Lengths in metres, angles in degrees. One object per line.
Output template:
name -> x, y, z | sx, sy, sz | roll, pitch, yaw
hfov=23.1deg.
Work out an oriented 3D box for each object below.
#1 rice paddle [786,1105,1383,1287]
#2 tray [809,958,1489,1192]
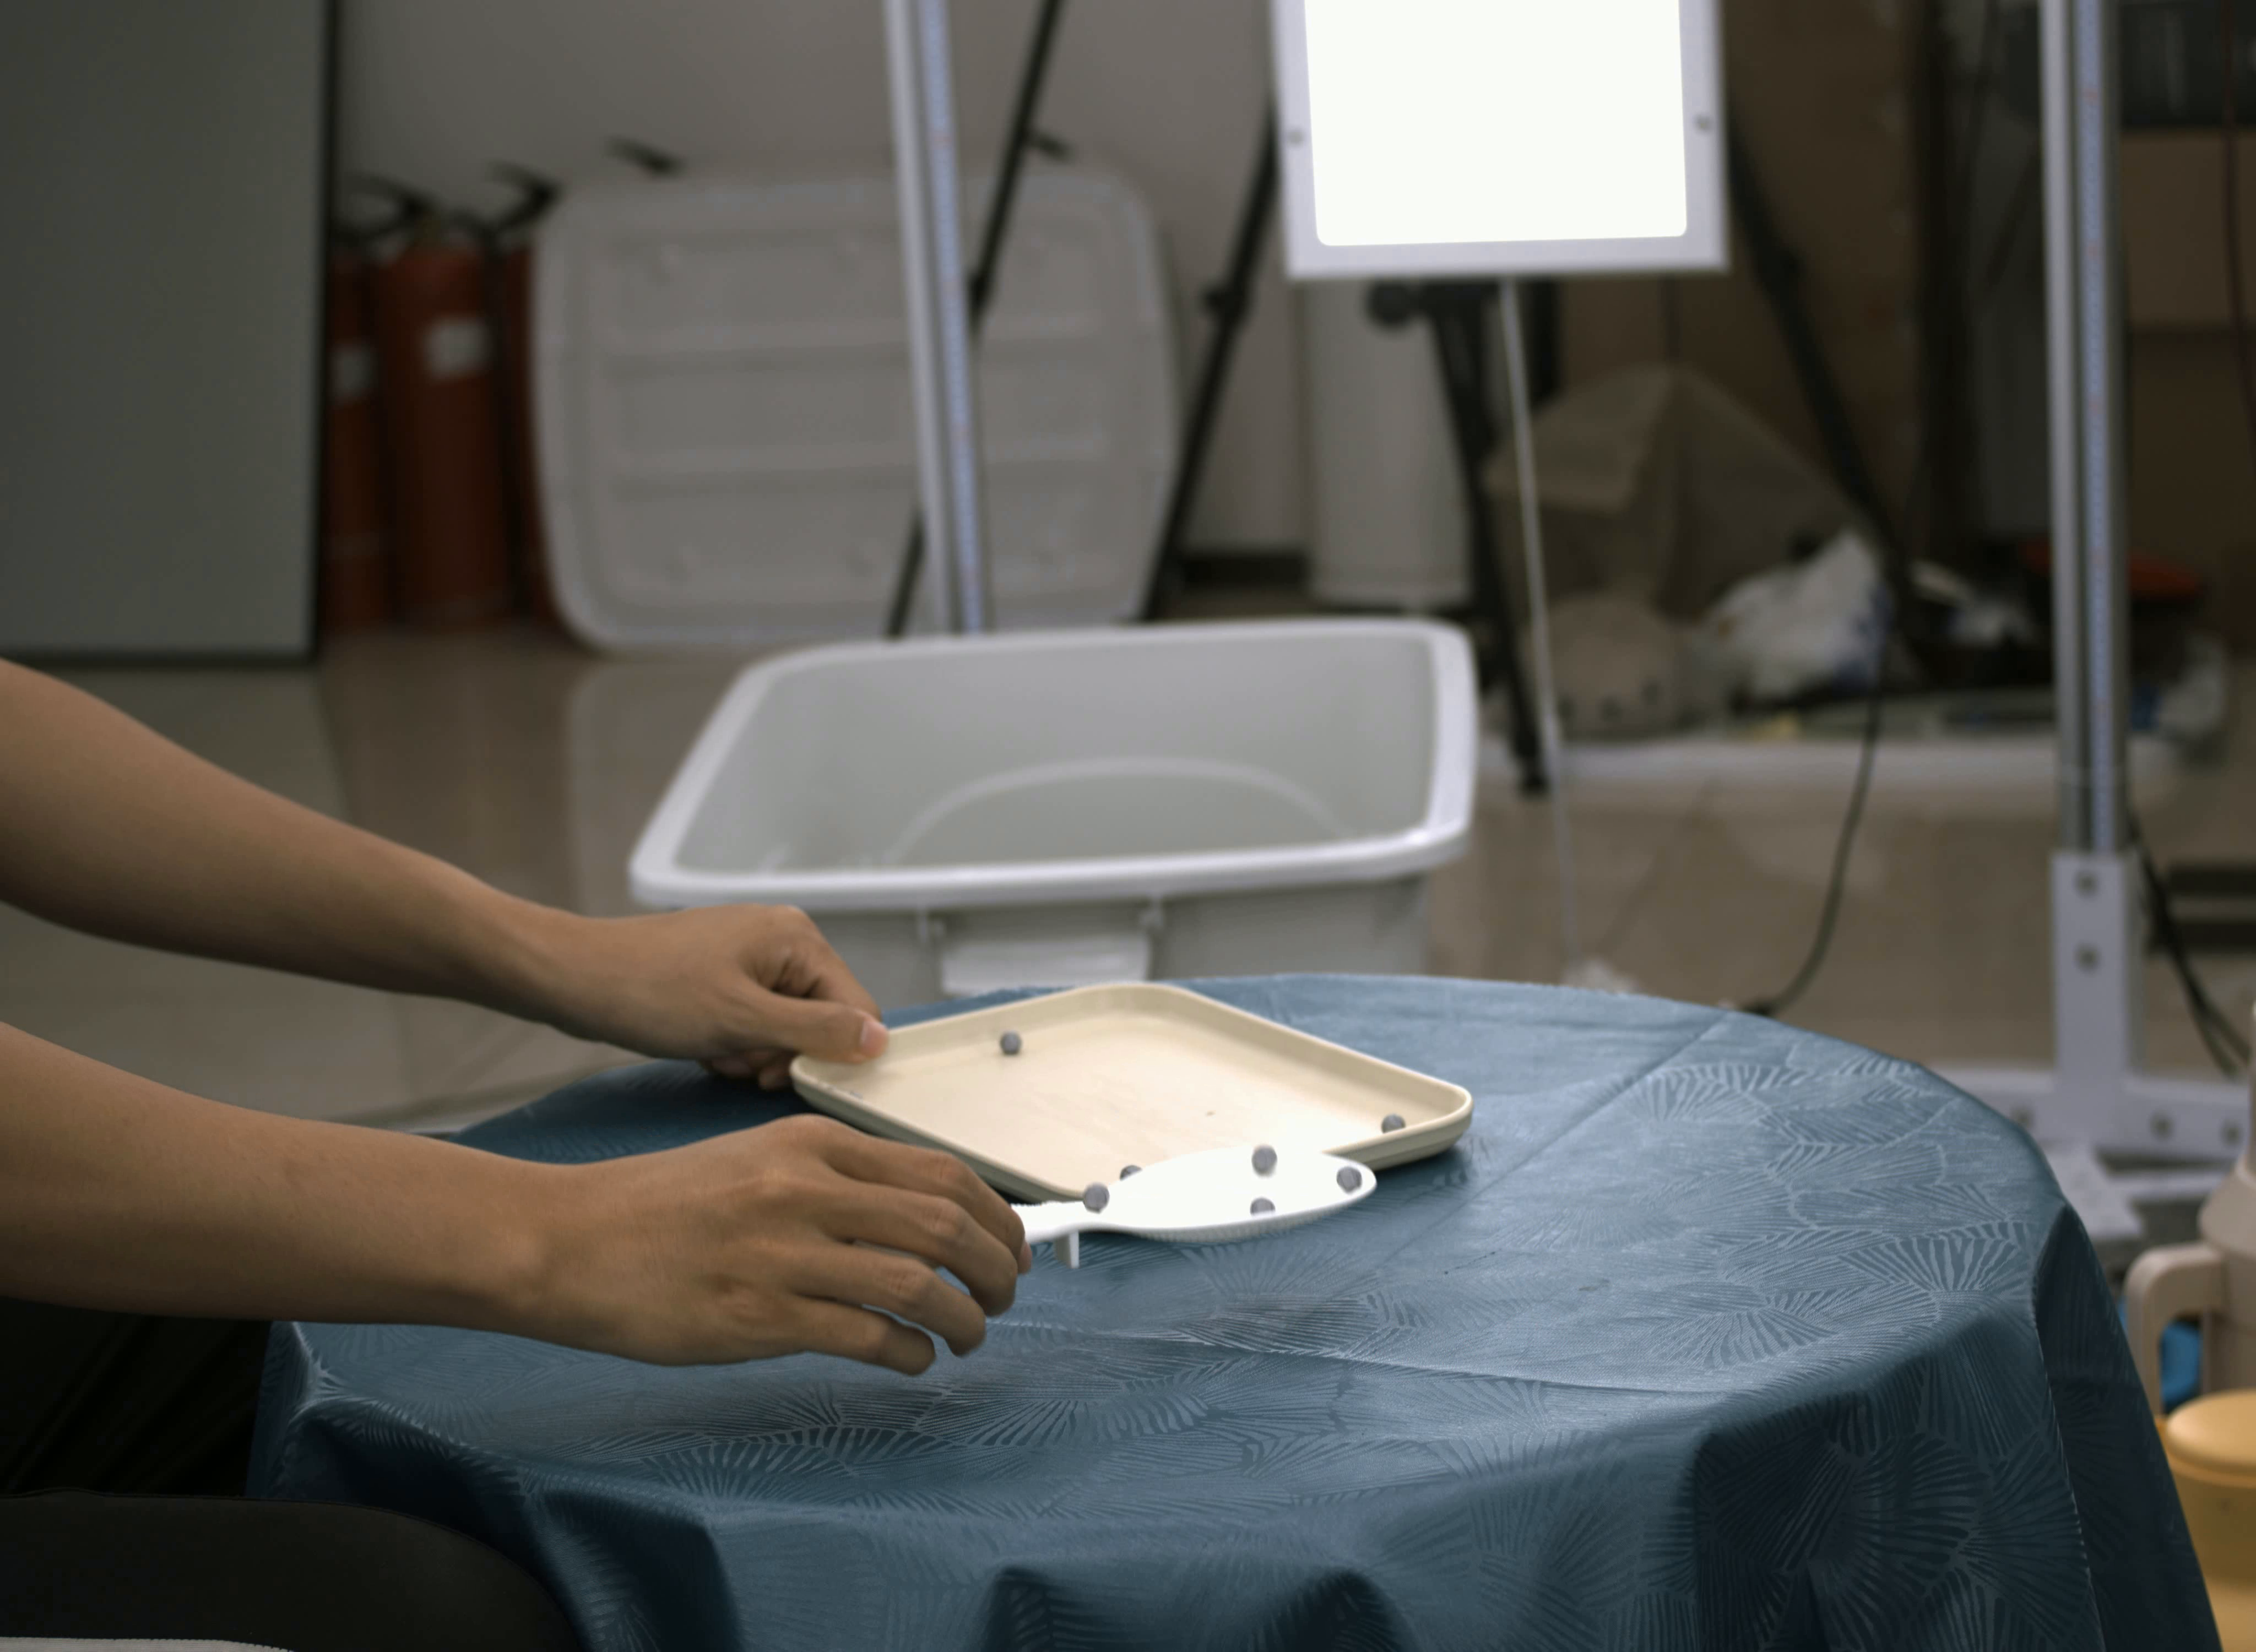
rice paddle -> -0.010, 0.110, 1.739 | 0.201, 0.029, 0.070 | -11, 17, -25
tray -> 0.005, 0.089, 1.987 | 0.167, 0.017, 0.244 | -12, 15, -29
